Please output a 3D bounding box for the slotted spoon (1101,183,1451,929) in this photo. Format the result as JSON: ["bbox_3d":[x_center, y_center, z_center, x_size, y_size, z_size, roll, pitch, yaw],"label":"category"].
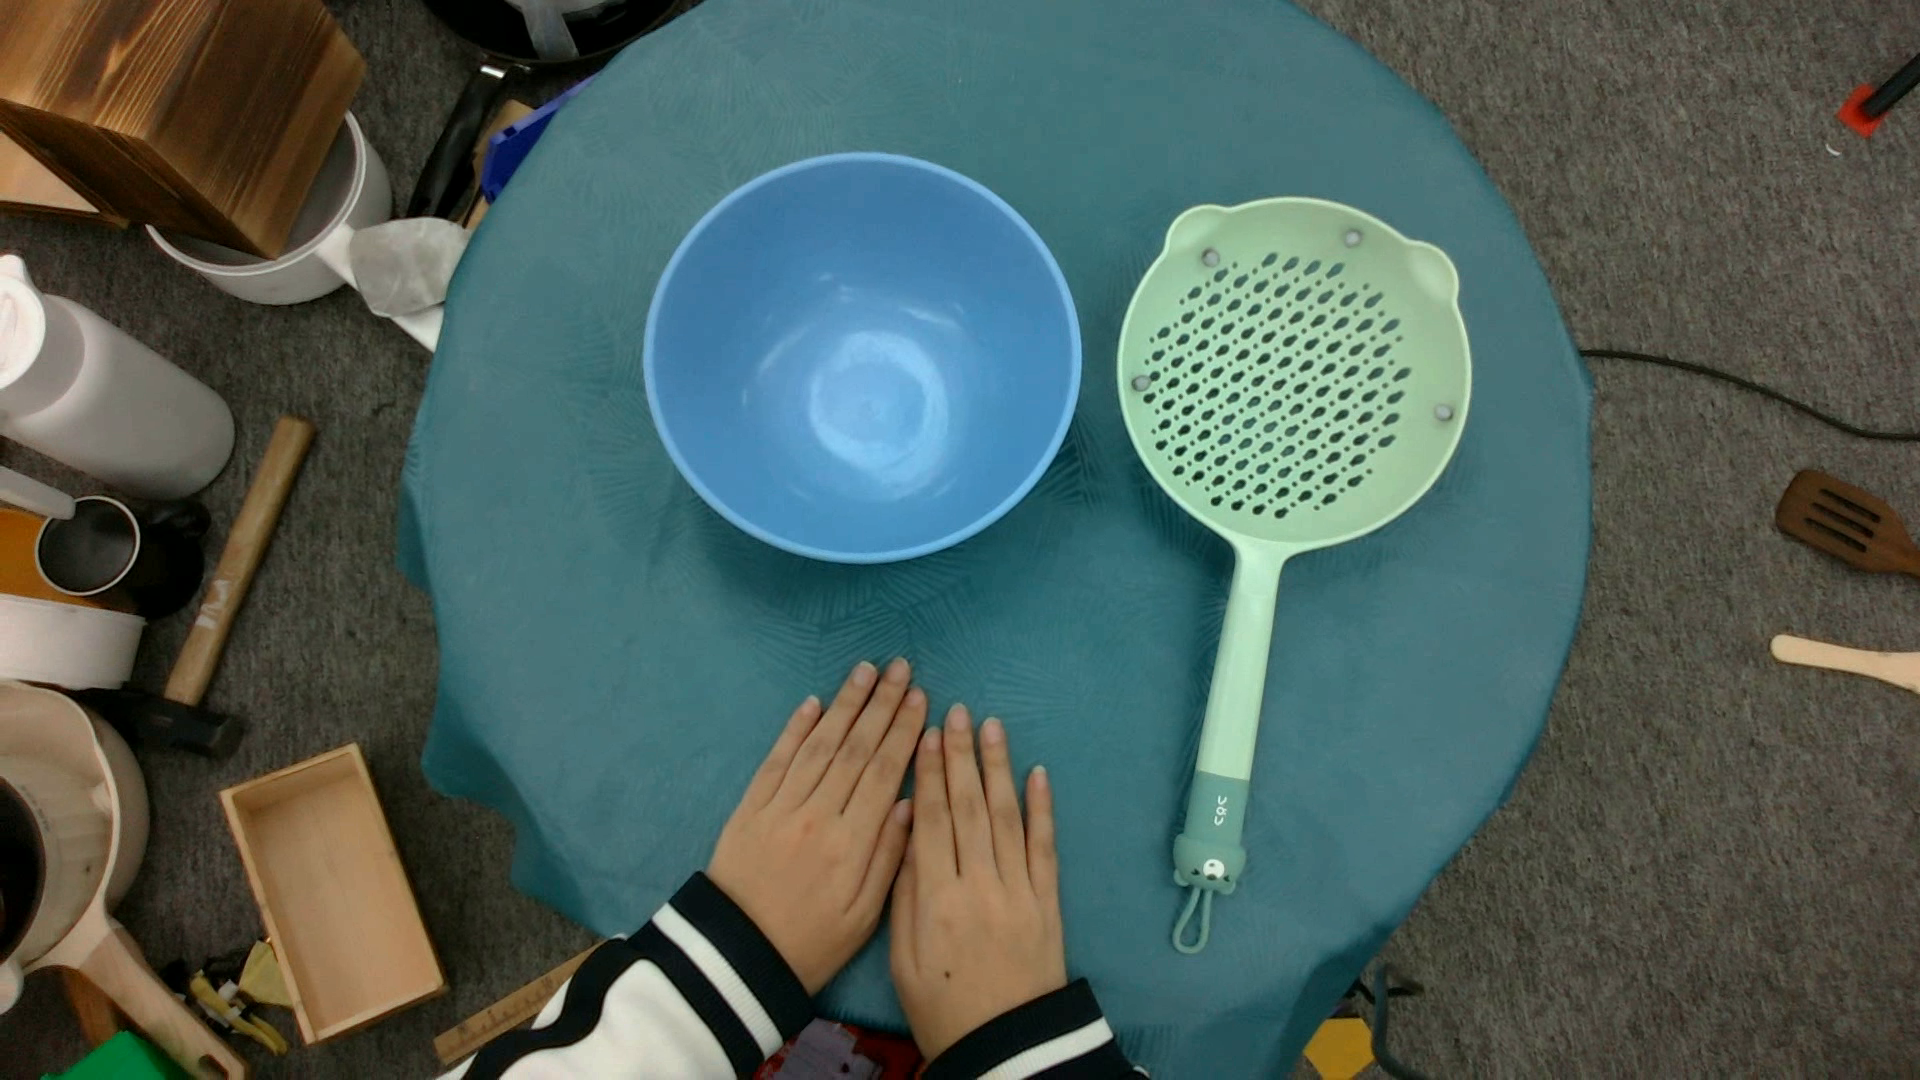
[{"bbox_3d":[0.134,0.008,0.665,0.169,0.075,0.359,10,78,1],"label":"slotted spoon"}]

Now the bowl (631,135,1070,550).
[{"bbox_3d":[-0.050,-0.082,0.661,0.196,0.095,0.197,1,77,-3],"label":"bowl"}]
